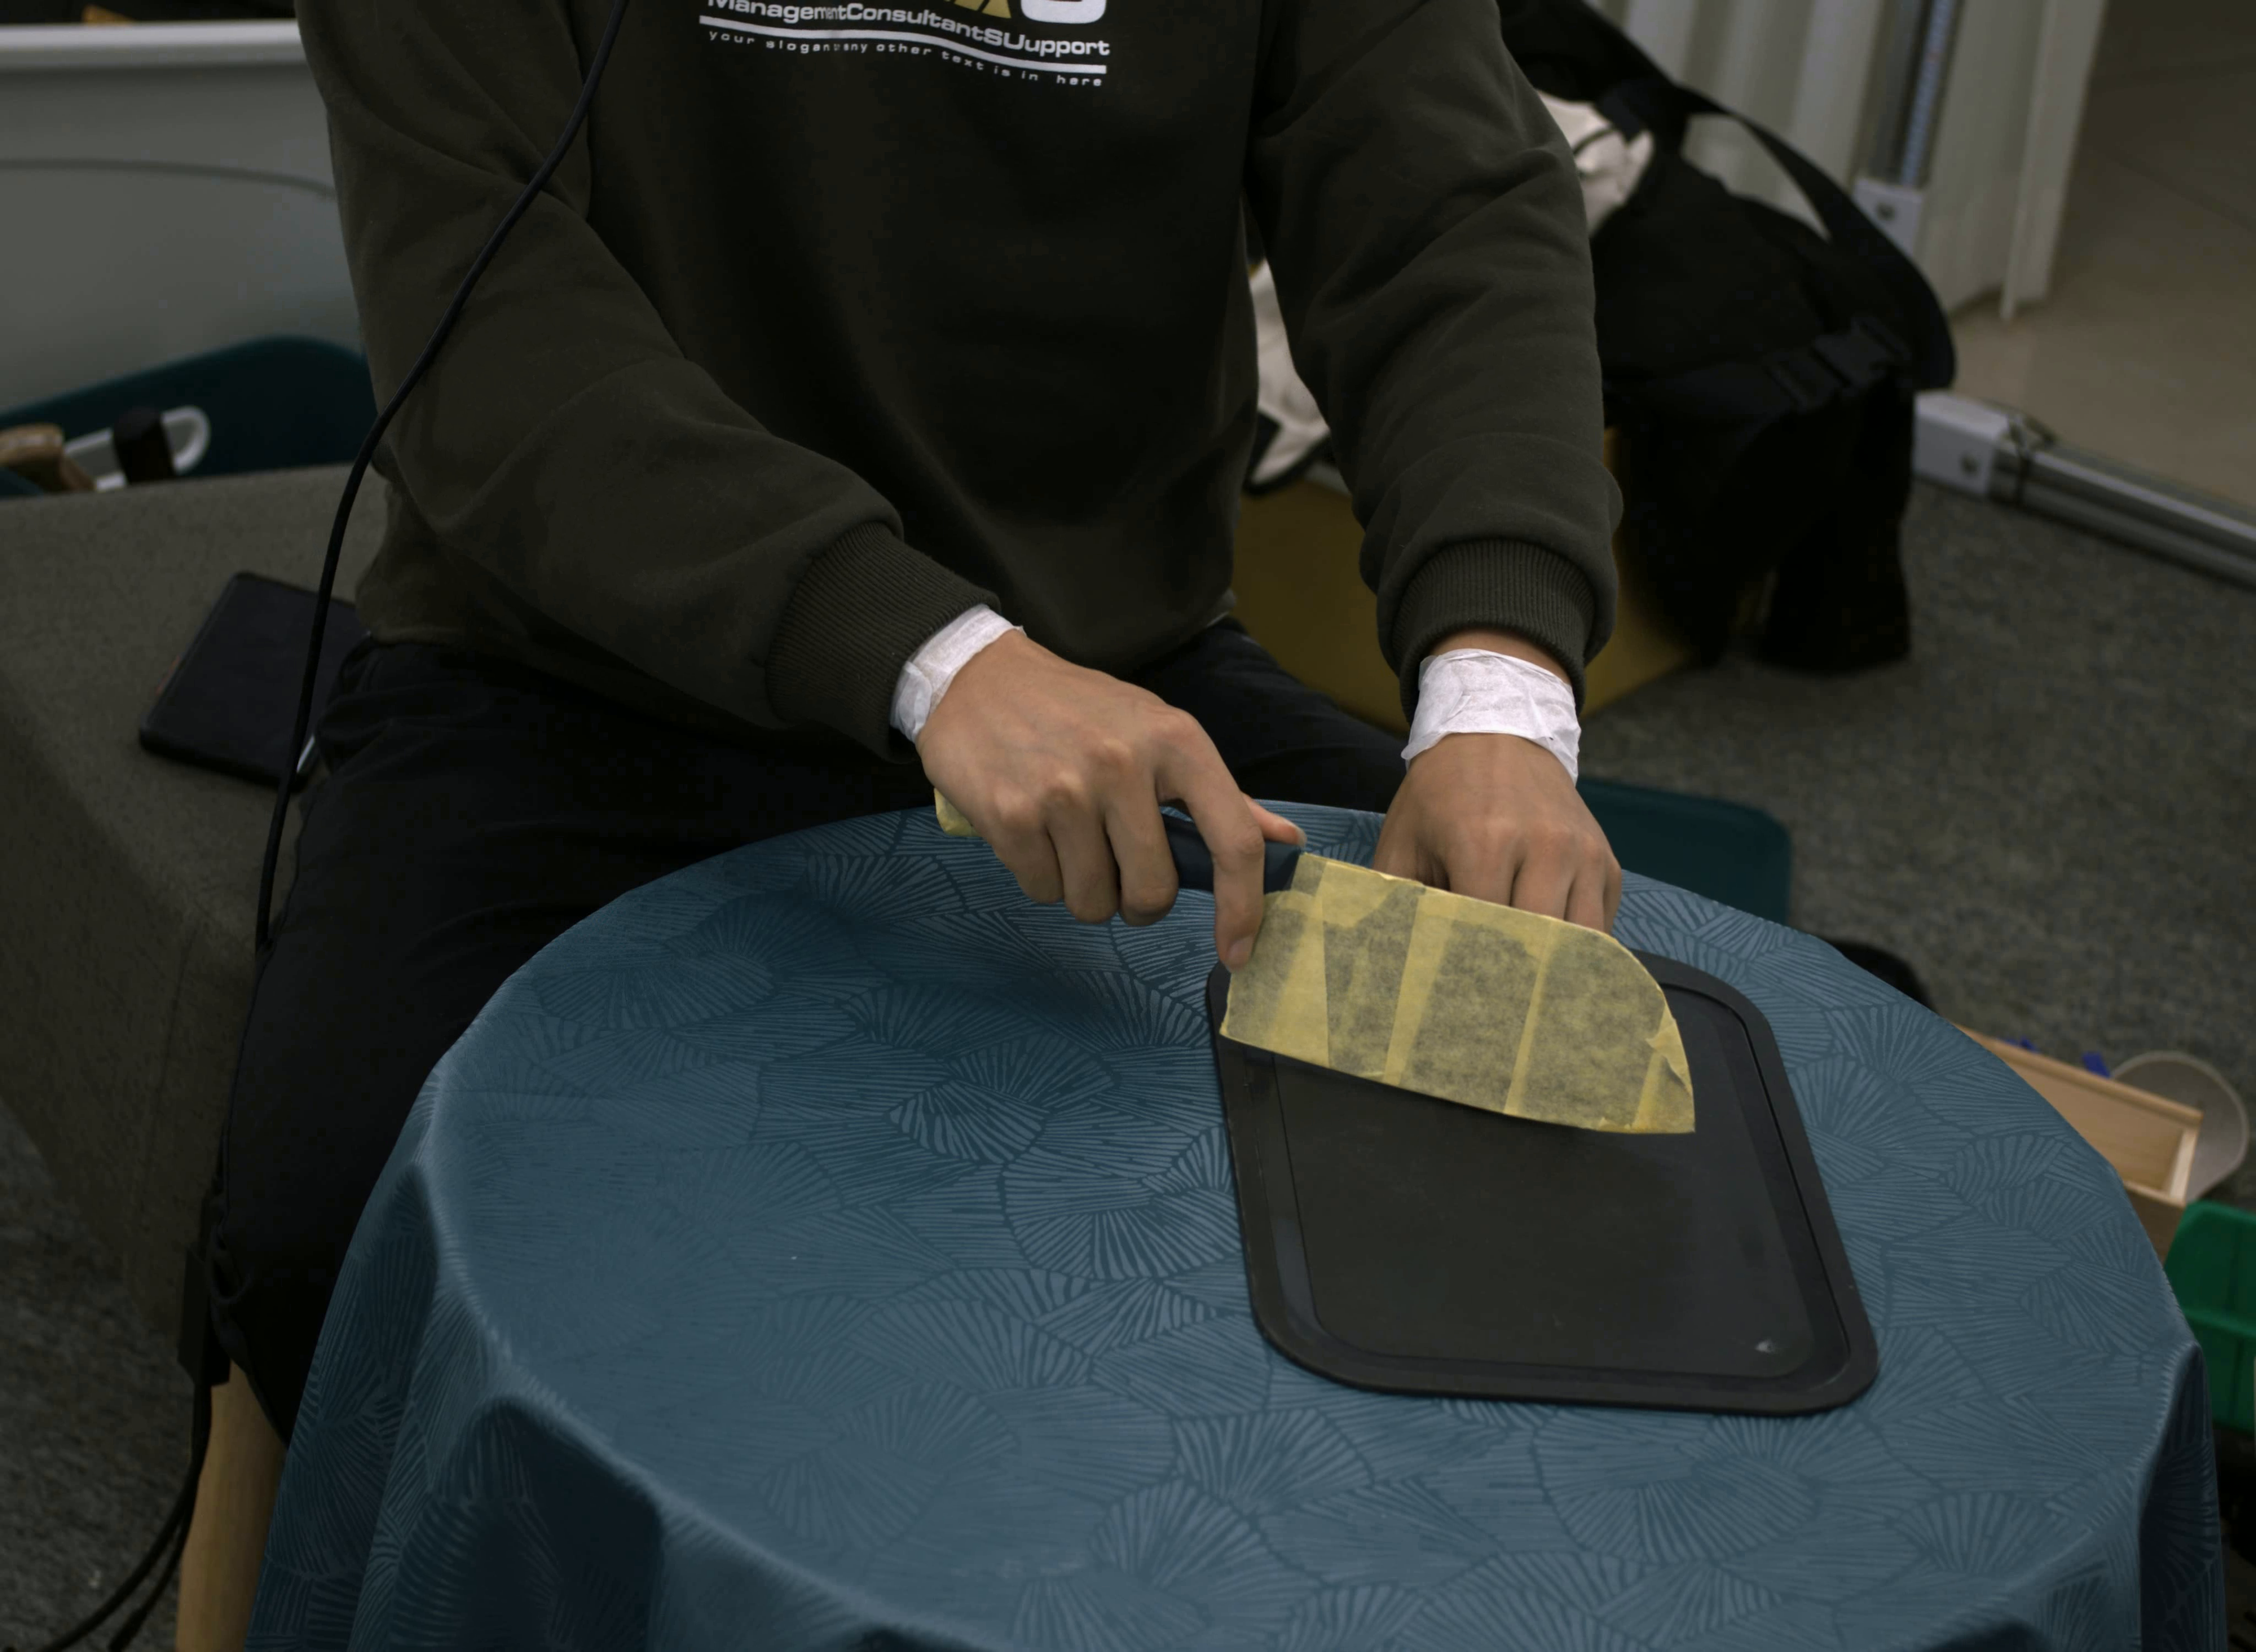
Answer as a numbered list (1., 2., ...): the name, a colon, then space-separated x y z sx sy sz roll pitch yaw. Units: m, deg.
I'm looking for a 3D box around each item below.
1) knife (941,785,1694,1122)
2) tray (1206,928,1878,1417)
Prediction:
1. knife: 0.064 0.044 1.886 0.290 0.081 0.027 18 7 15
2. tray: 0.137 0.110 1.855 0.210 0.010 0.327 4 27 -5
